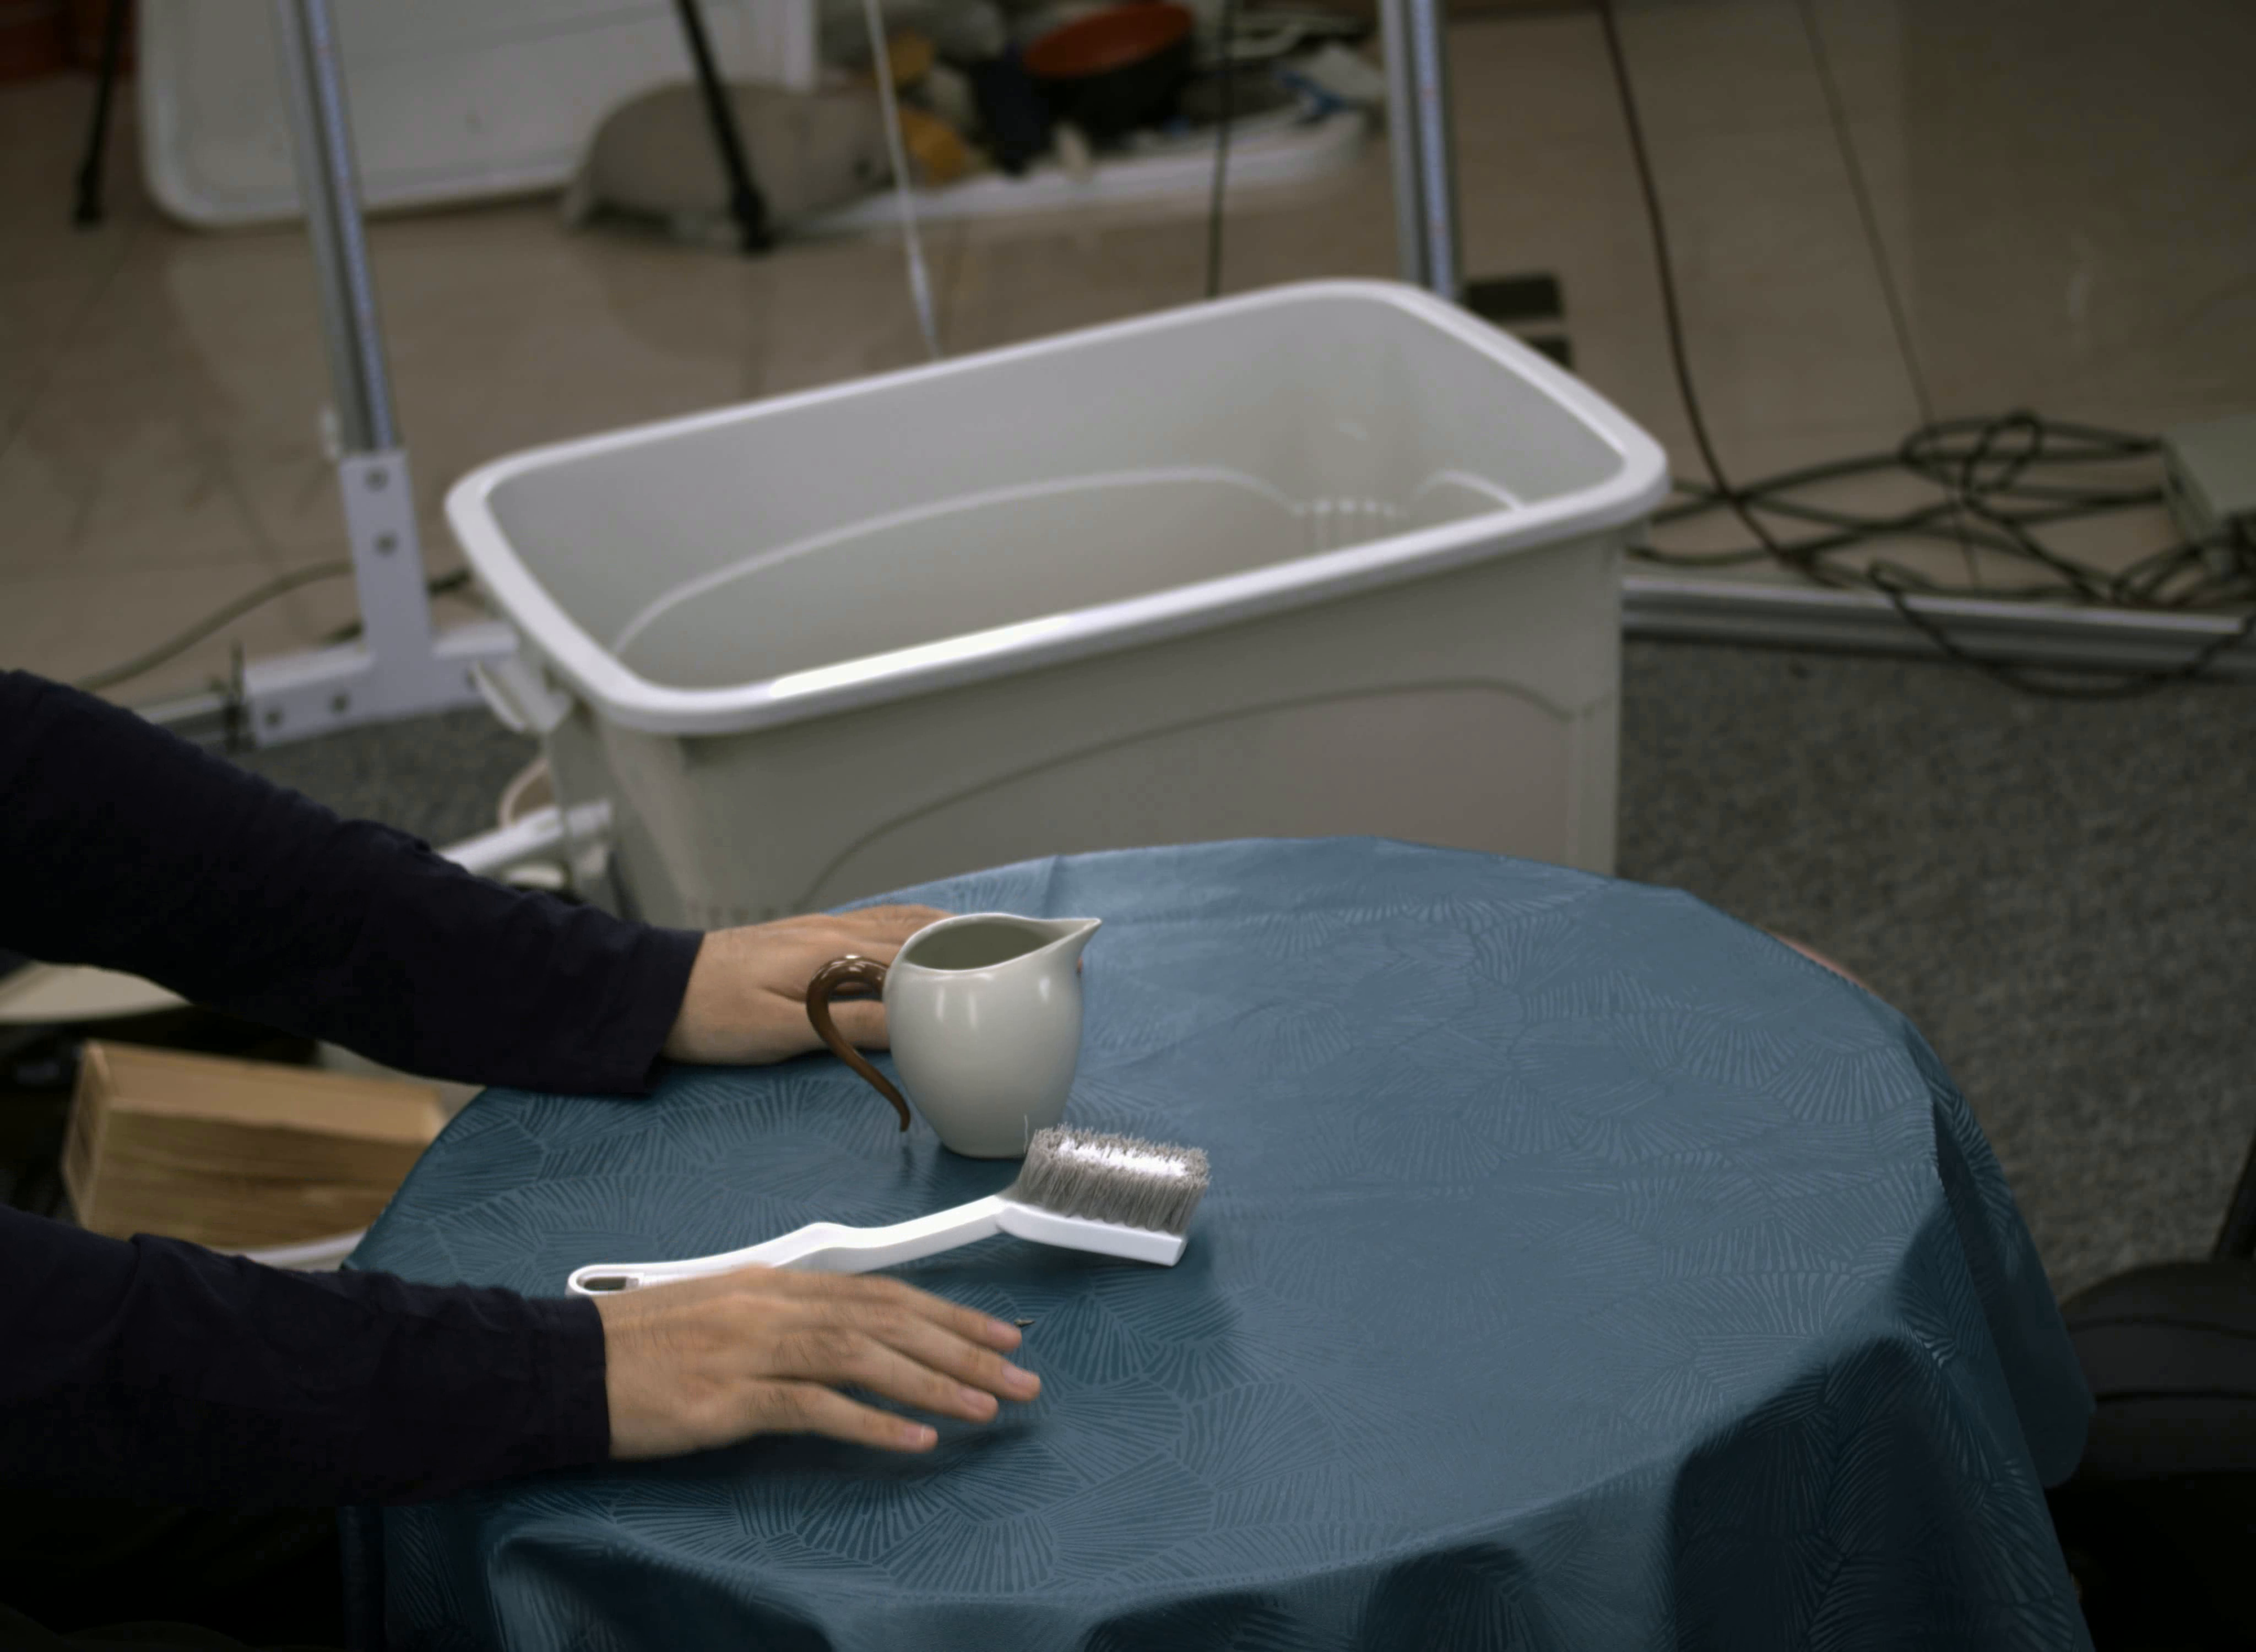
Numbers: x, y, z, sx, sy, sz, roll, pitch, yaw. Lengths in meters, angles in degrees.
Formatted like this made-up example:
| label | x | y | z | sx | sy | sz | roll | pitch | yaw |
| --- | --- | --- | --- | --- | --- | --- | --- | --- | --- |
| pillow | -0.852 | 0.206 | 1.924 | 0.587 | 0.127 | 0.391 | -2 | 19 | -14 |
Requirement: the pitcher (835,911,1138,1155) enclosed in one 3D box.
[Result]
| label | x | y | z | sx | sy | sz | roll | pitch | yaw |
| --- | --- | --- | --- | --- | --- | --- | --- | --- | --- |
| pitcher | -0.053 | 0.078 | 2.184 | 0.119 | 0.089 | 0.075 | -1 | 22 | 6 |

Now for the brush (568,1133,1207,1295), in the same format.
| label | x | y | z | sx | sy | sz | roll | pitch | yaw |
| --- | --- | --- | --- | --- | --- | --- | --- | --- | --- |
| brush | -0.091 | 0.144 | 2.103 | 0.243 | 0.051 | 0.034 | -4 | 31 | 6 |
